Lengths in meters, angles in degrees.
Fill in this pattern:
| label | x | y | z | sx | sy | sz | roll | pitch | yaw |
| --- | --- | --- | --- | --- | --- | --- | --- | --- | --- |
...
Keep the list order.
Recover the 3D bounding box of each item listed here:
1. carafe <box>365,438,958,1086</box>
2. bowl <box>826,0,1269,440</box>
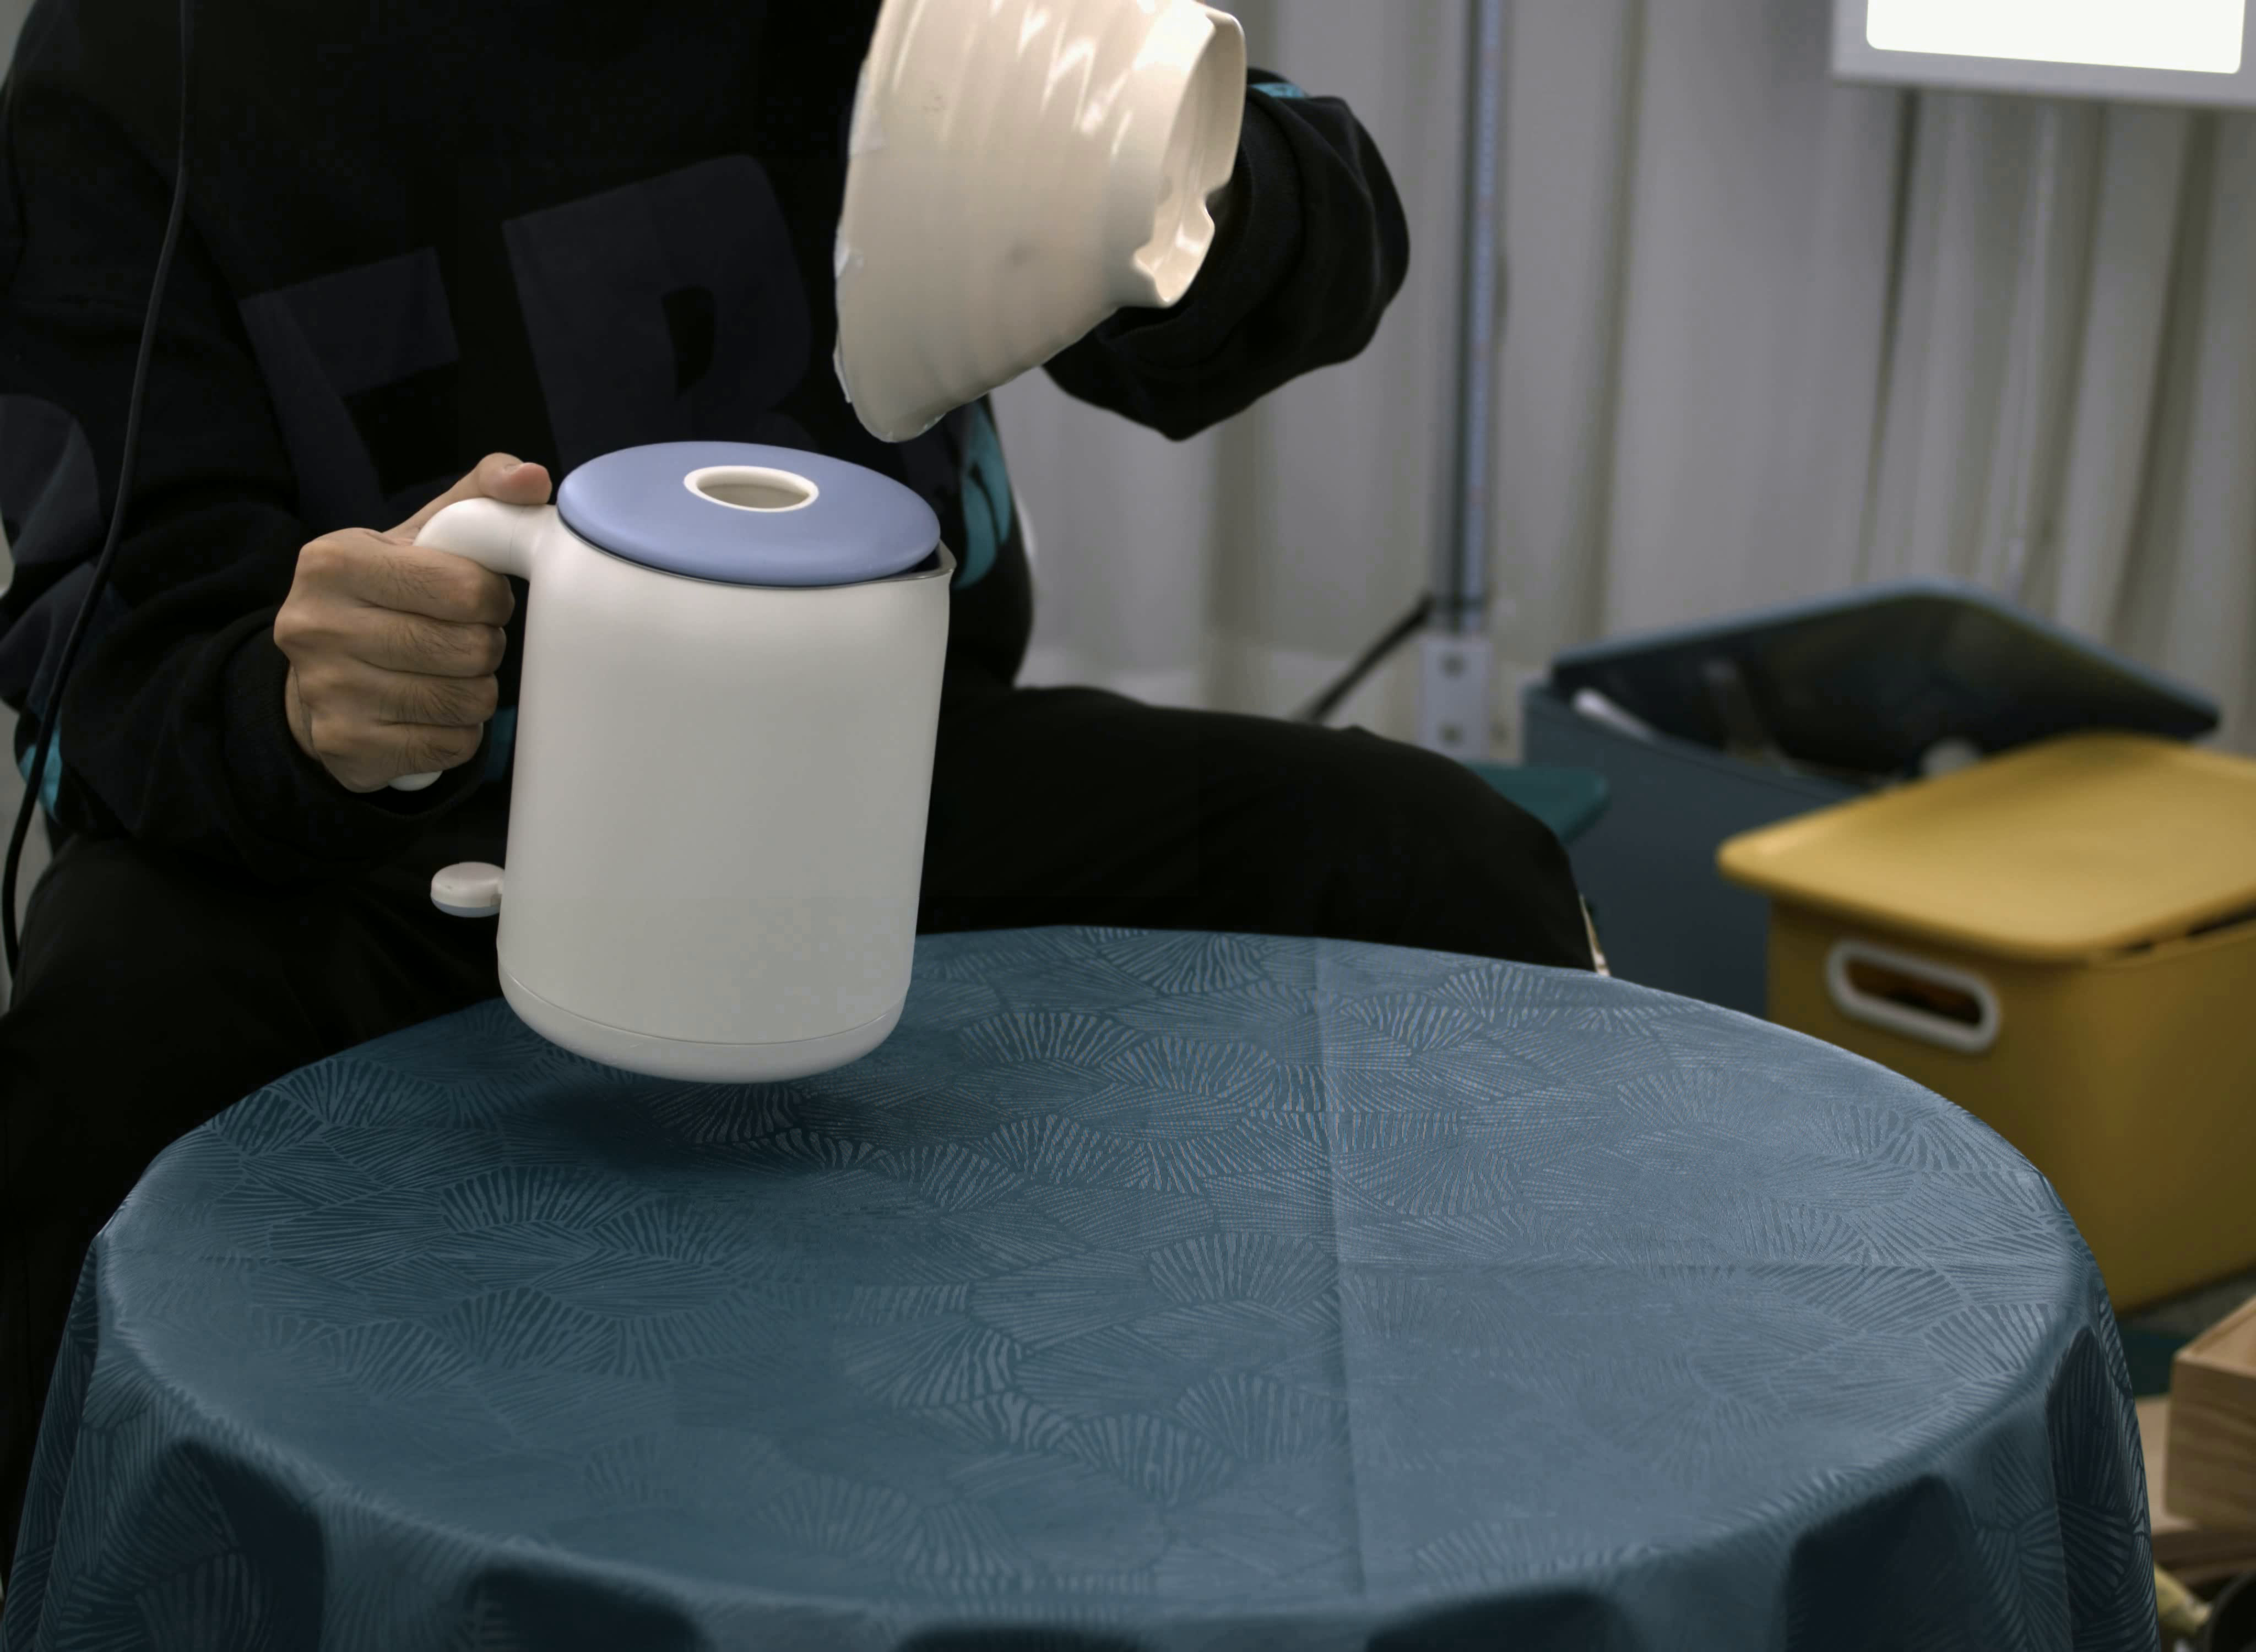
| label | x | y | z | sx | sy | sz | roll | pitch | yaw |
| --- | --- | --- | --- | --- | --- | --- | --- | --- | --- |
| carafe | -0.149 | -0.025 | 1.643 | 0.189 | 0.184 | 0.132 | 10 | 20 | 15 |
| bowl | -0.011 | -0.204 | 1.542 | 0.077 | 0.205 | 0.204 | 16 | 20 | 18 |
